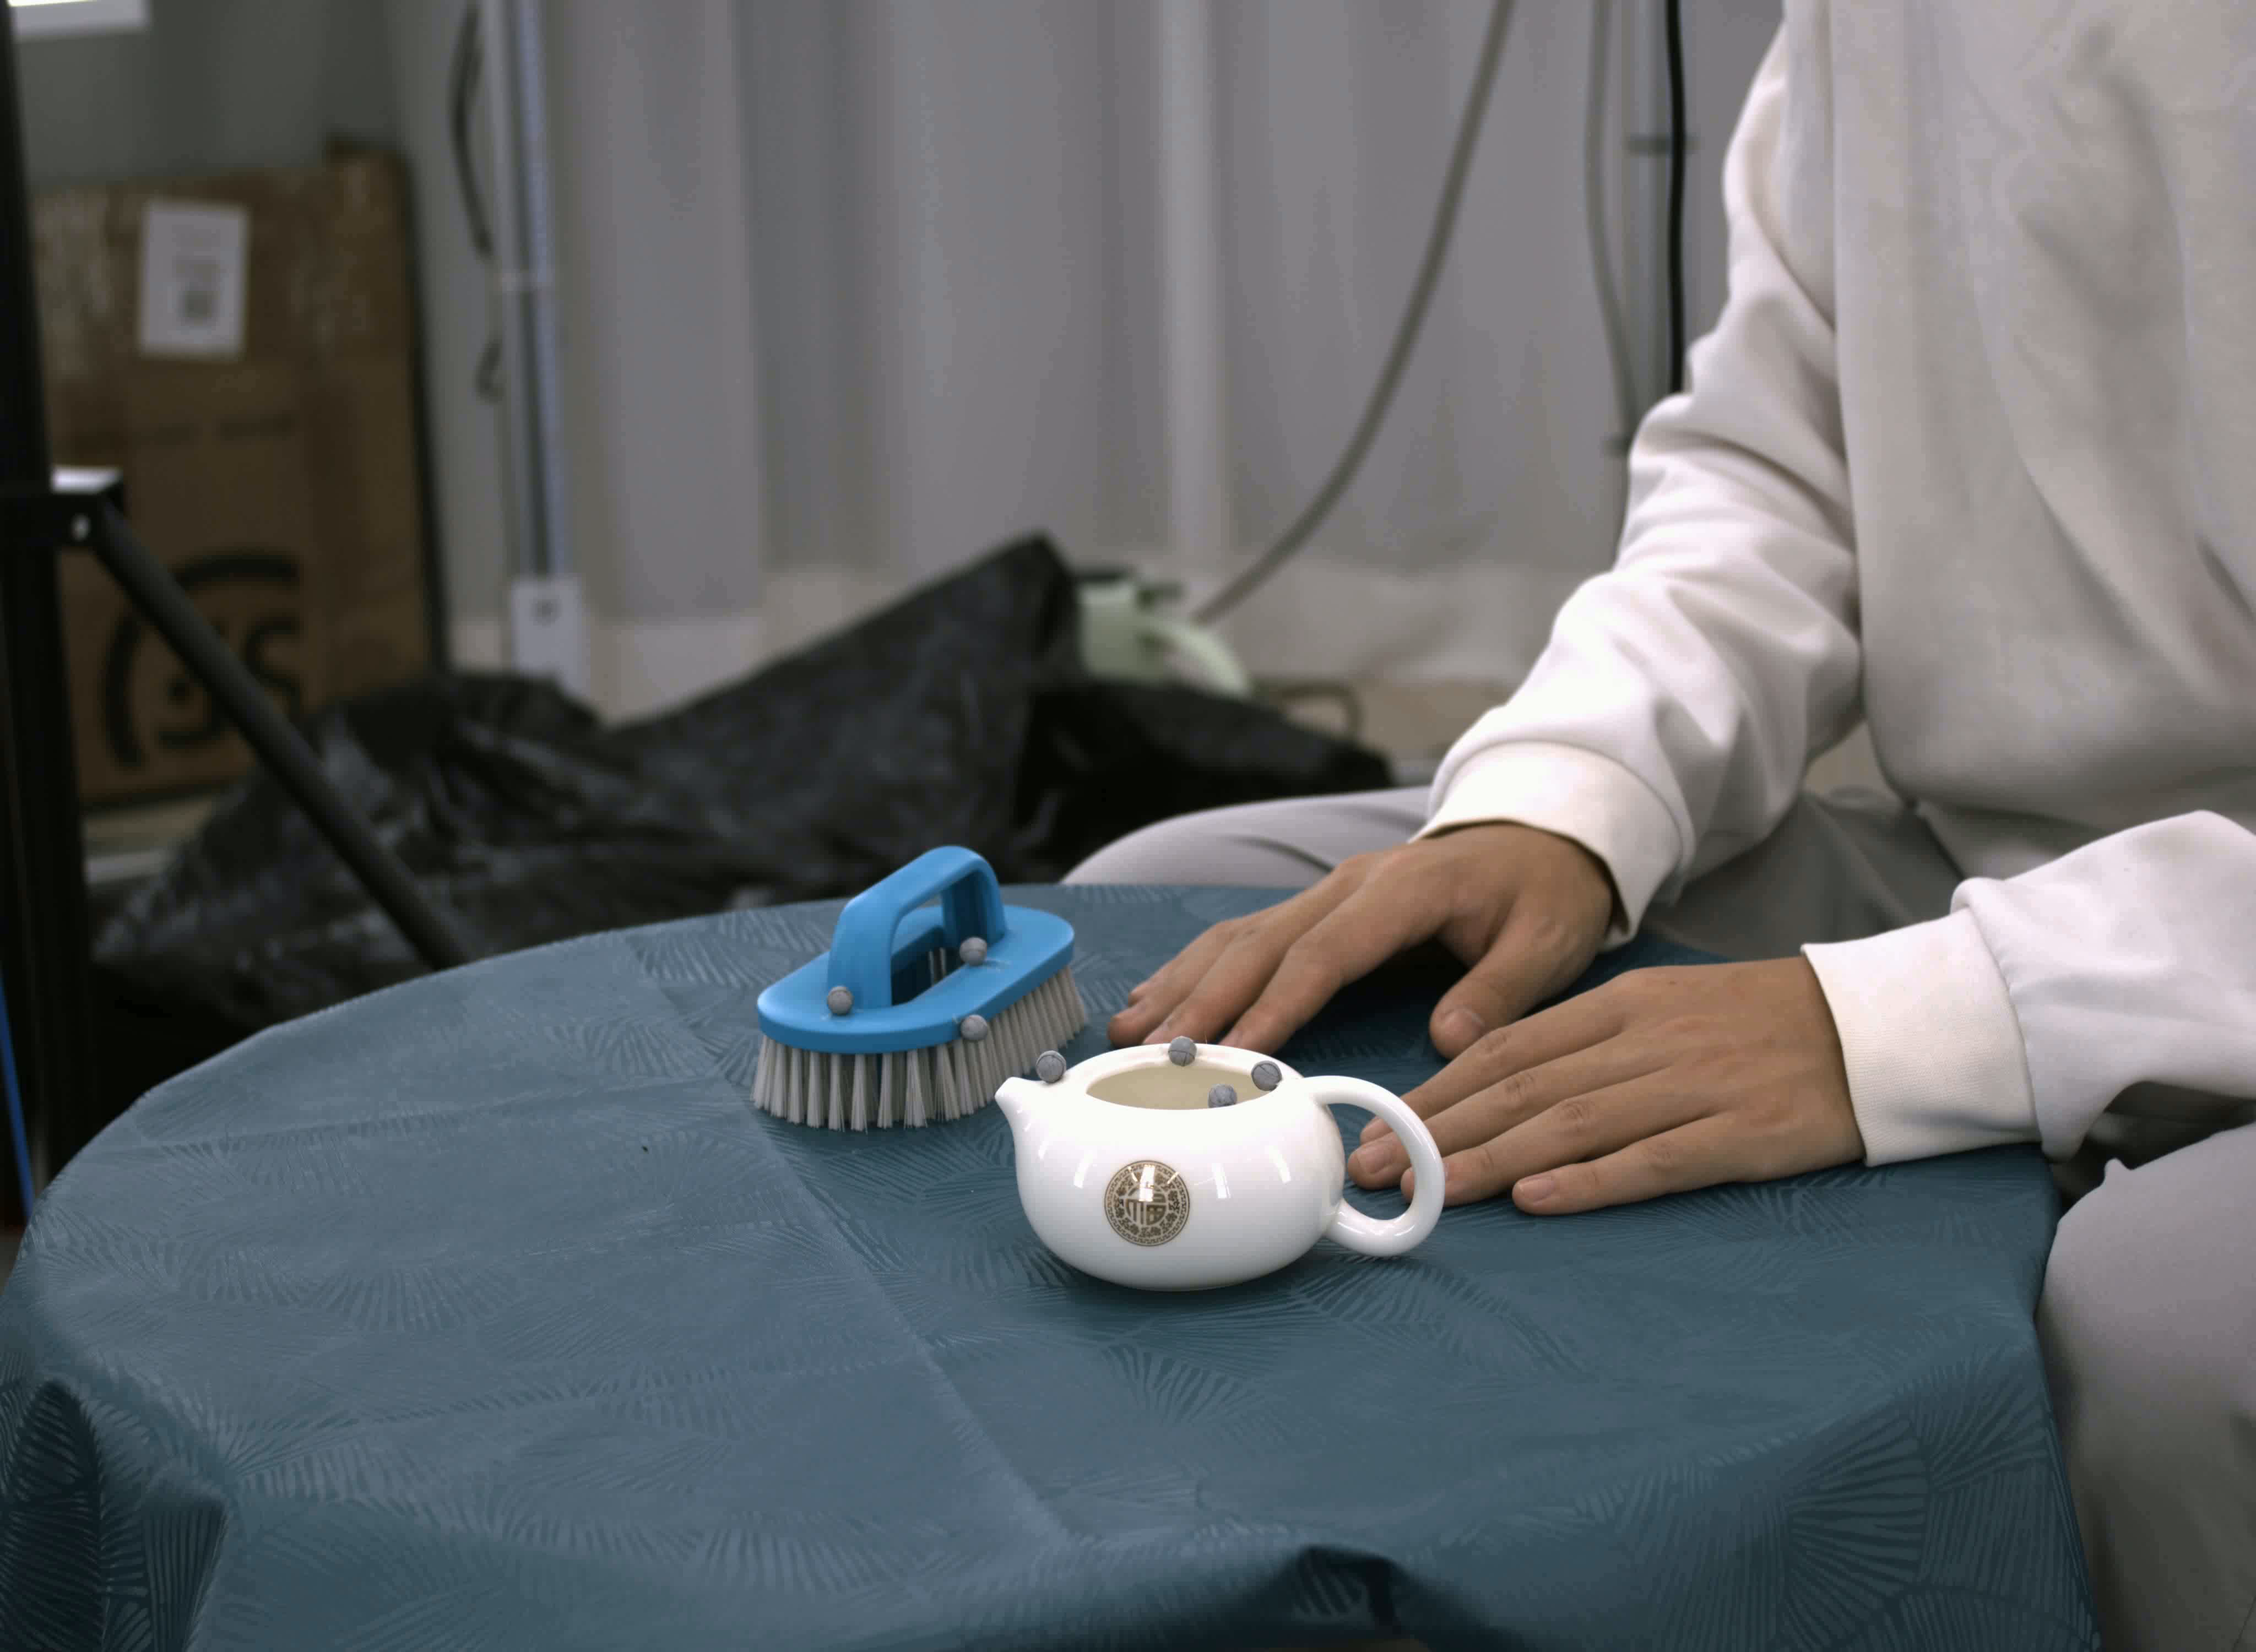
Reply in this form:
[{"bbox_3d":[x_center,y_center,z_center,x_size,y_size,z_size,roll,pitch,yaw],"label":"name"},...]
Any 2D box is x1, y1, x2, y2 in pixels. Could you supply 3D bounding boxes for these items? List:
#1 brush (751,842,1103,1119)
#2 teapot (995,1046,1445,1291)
[{"bbox_3d":[-0.065,0.043,1.680,0.085,0.064,0.139,0,14,27],"label":"brush"},{"bbox_3d":[0.026,0.097,1.496,0.127,0.057,0.093,-1,11,1],"label":"teapot"}]
